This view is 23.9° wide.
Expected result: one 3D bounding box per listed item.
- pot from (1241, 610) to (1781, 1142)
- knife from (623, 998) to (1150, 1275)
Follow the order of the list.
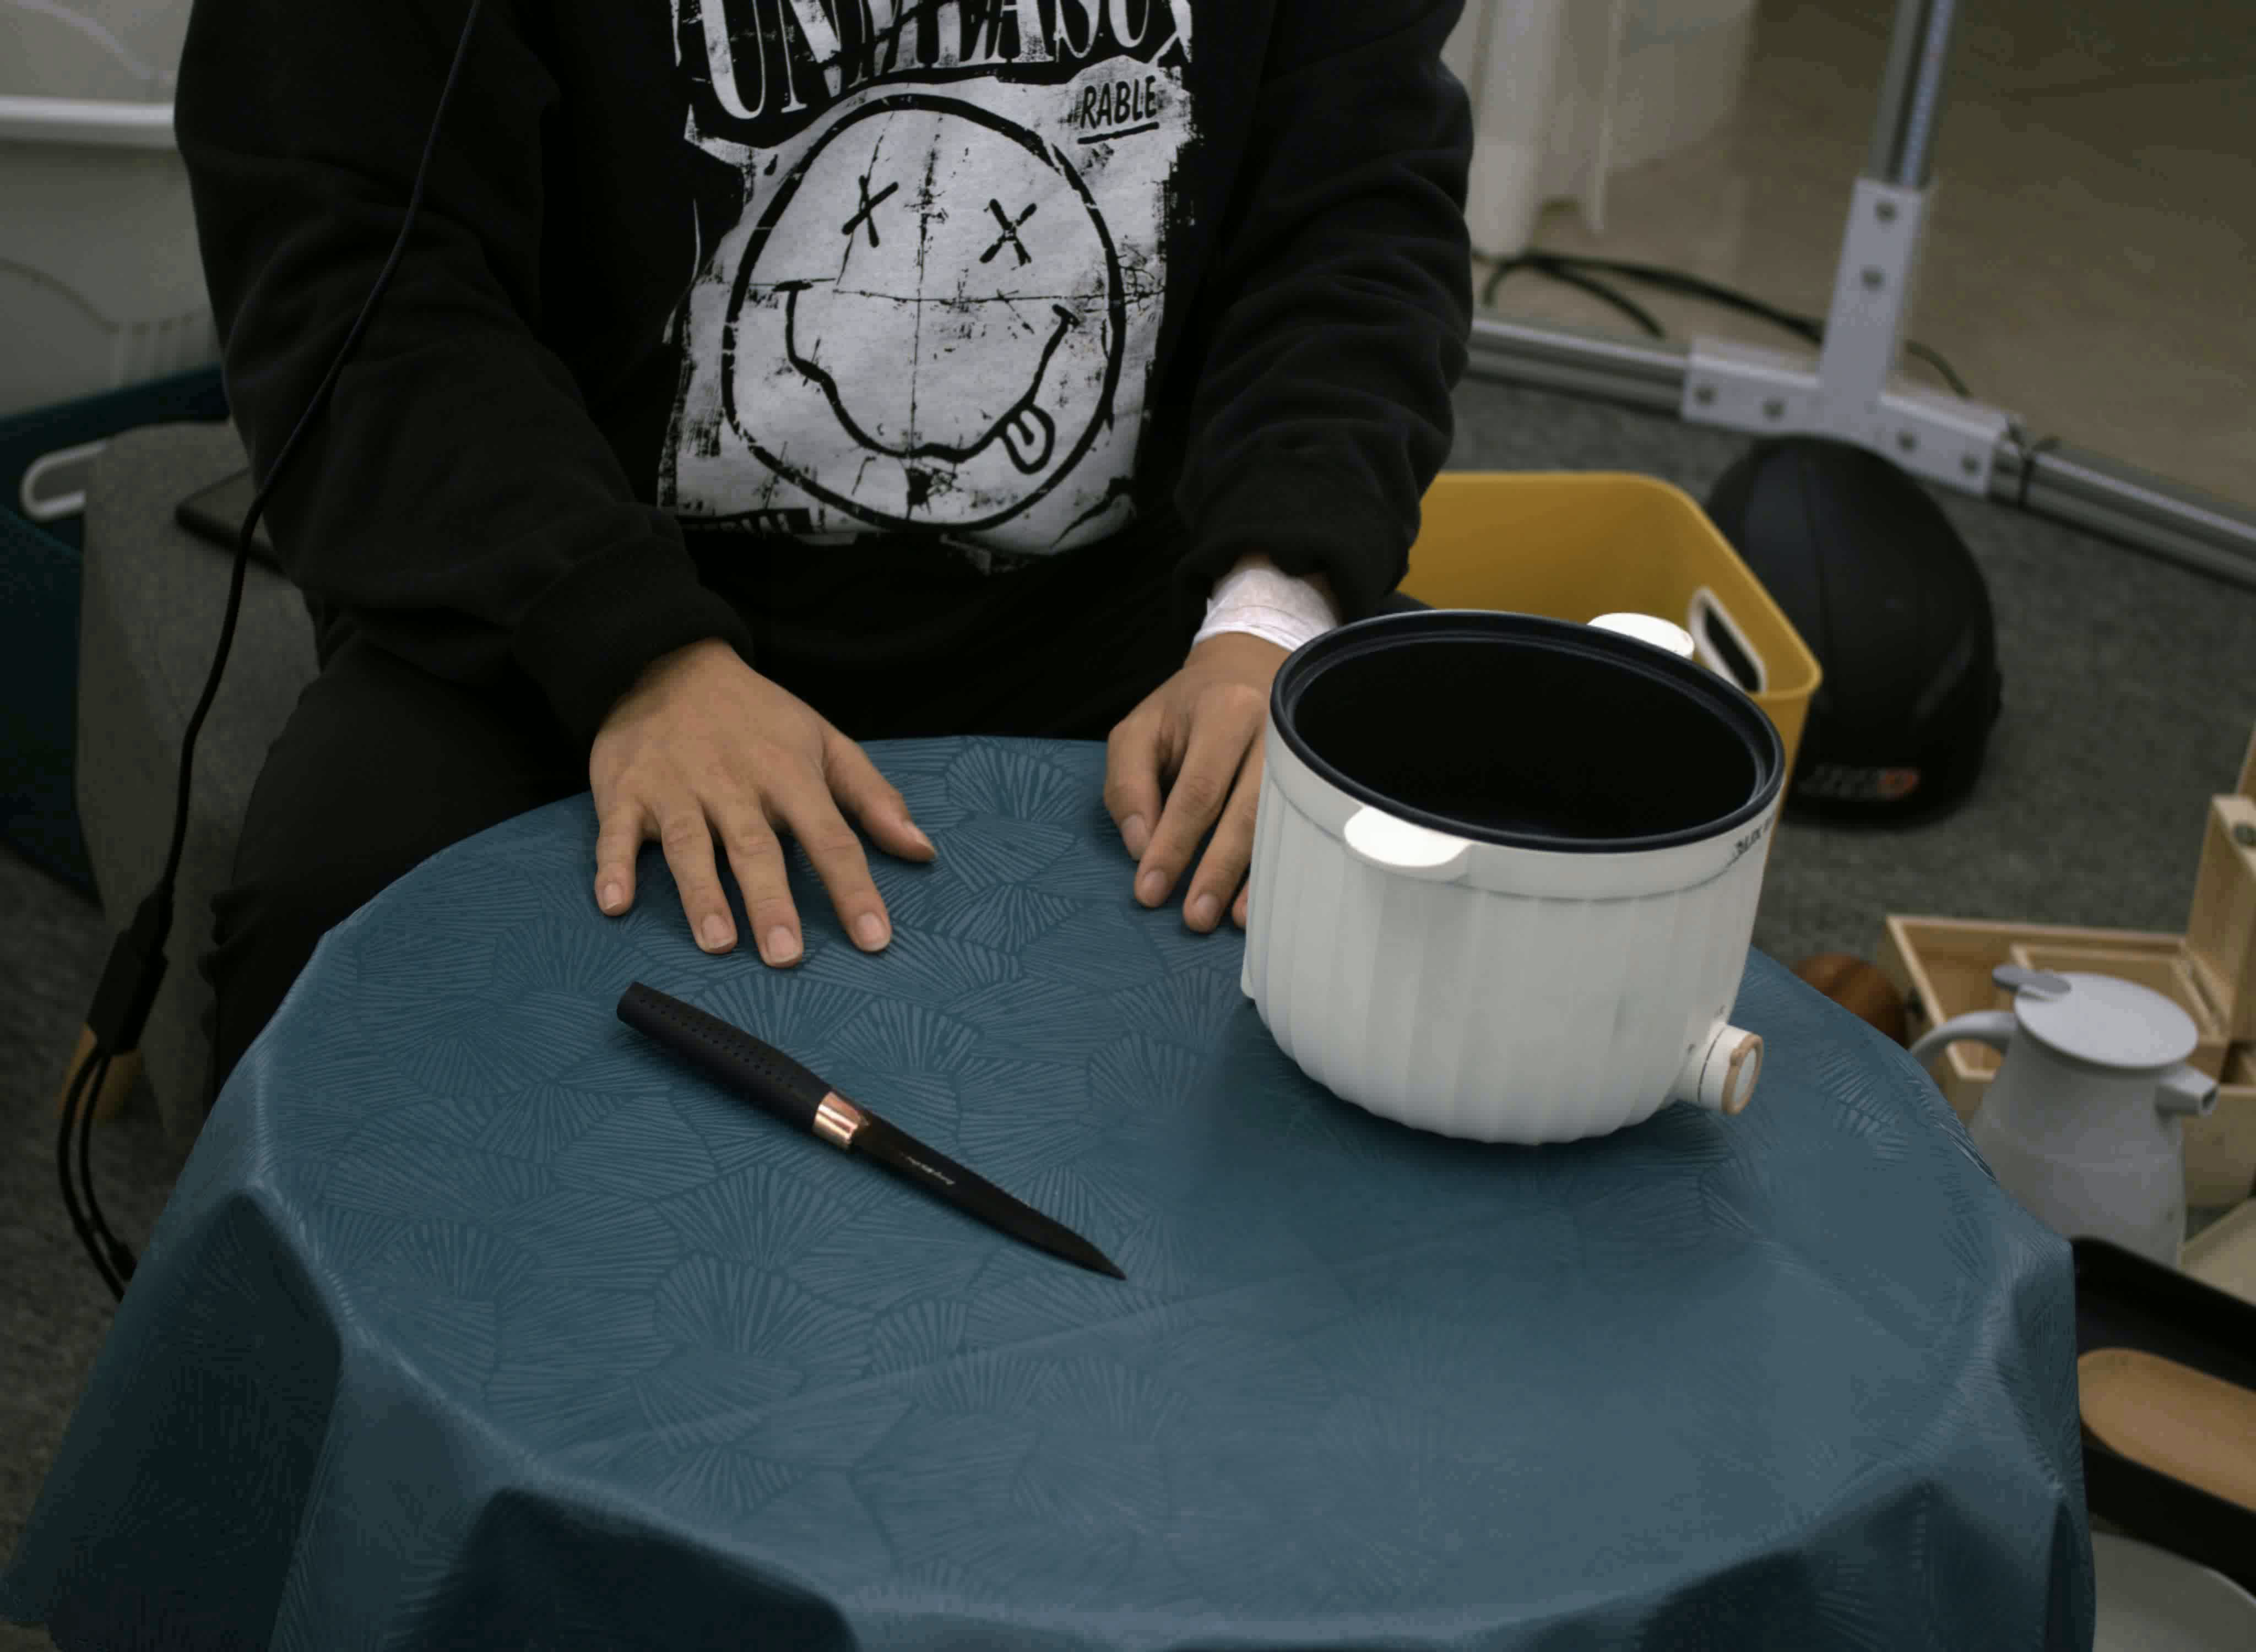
[{"bbox_3d":[0.137,0.023,1.881,0.191,0.142,0.240,15,29,23],"label":"pot"},{"bbox_3d":[-0.085,0.106,1.811,0.227,0.017,0.026,25,17,30],"label":"knife"}]
